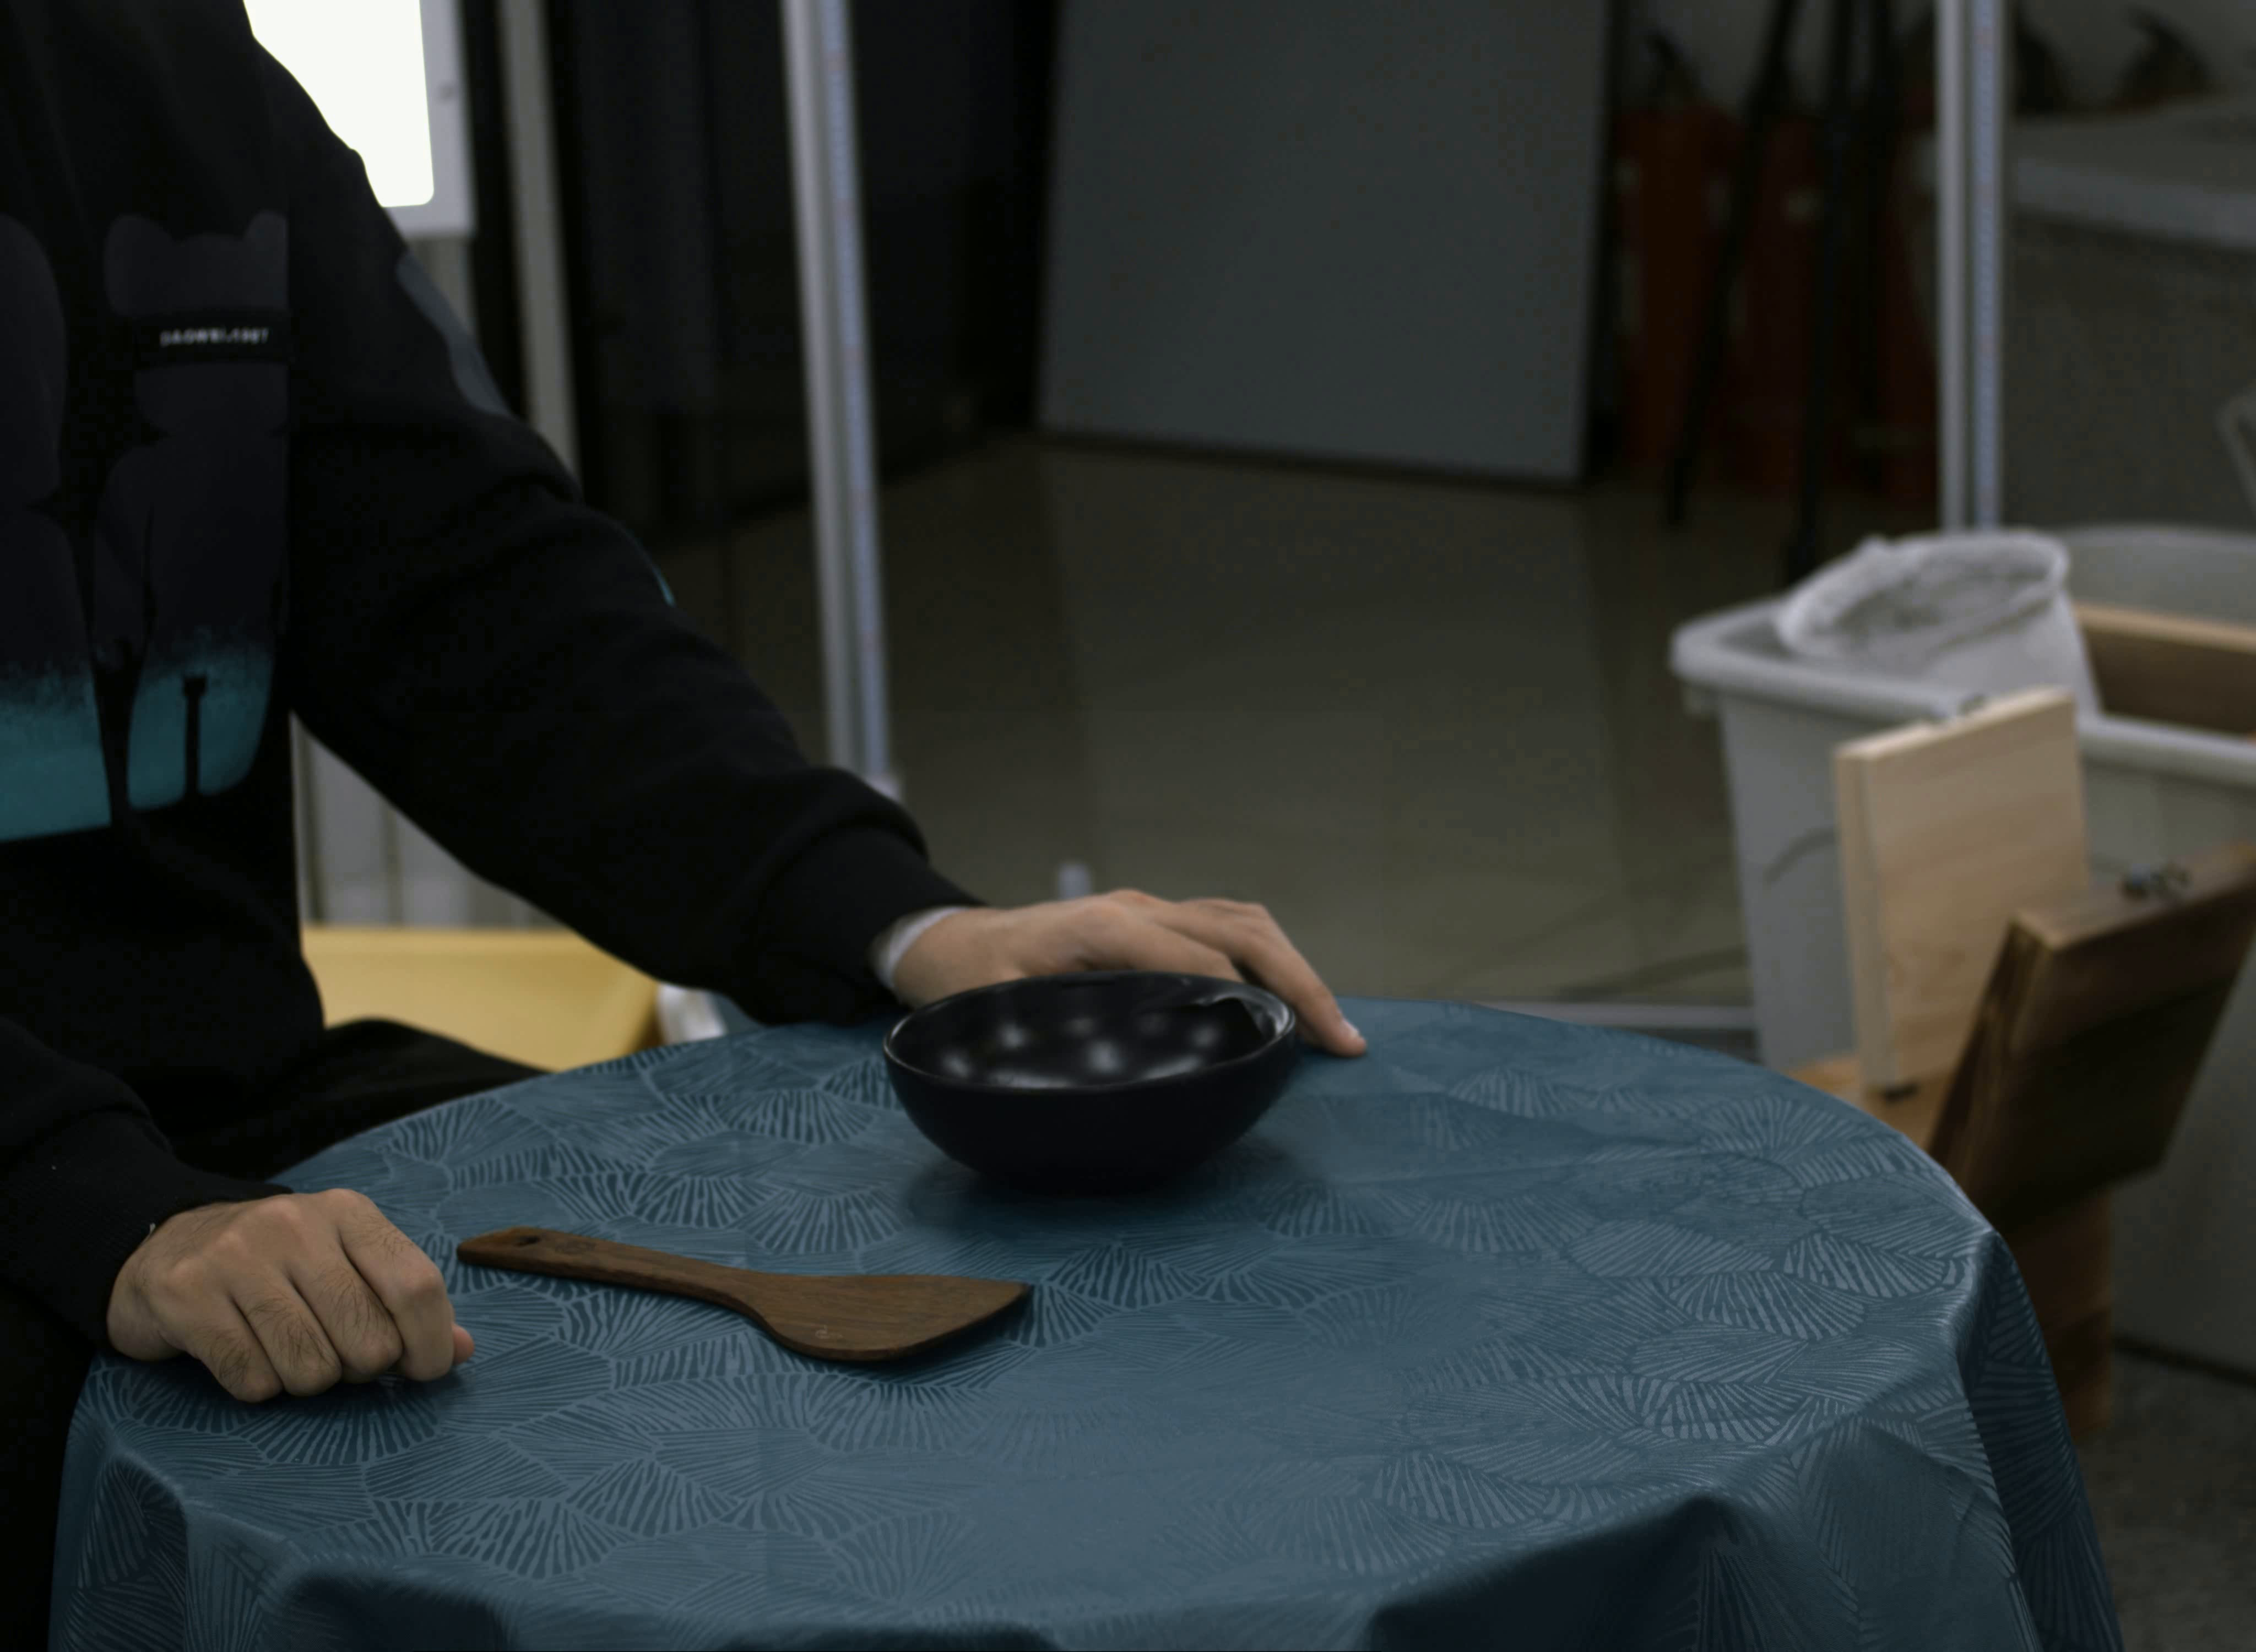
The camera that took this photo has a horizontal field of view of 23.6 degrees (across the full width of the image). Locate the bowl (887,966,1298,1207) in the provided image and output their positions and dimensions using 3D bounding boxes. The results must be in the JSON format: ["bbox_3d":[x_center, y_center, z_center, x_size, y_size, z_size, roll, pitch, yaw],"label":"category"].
[{"bbox_3d":[-0.010,0.091,1.795,0.138,0.050,0.140,-6,16,1],"label":"bowl"}]

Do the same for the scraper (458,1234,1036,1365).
[{"bbox_3d":[-0.127,0.146,1.695,0.213,0.011,0.074,6,16,37],"label":"scraper"}]
